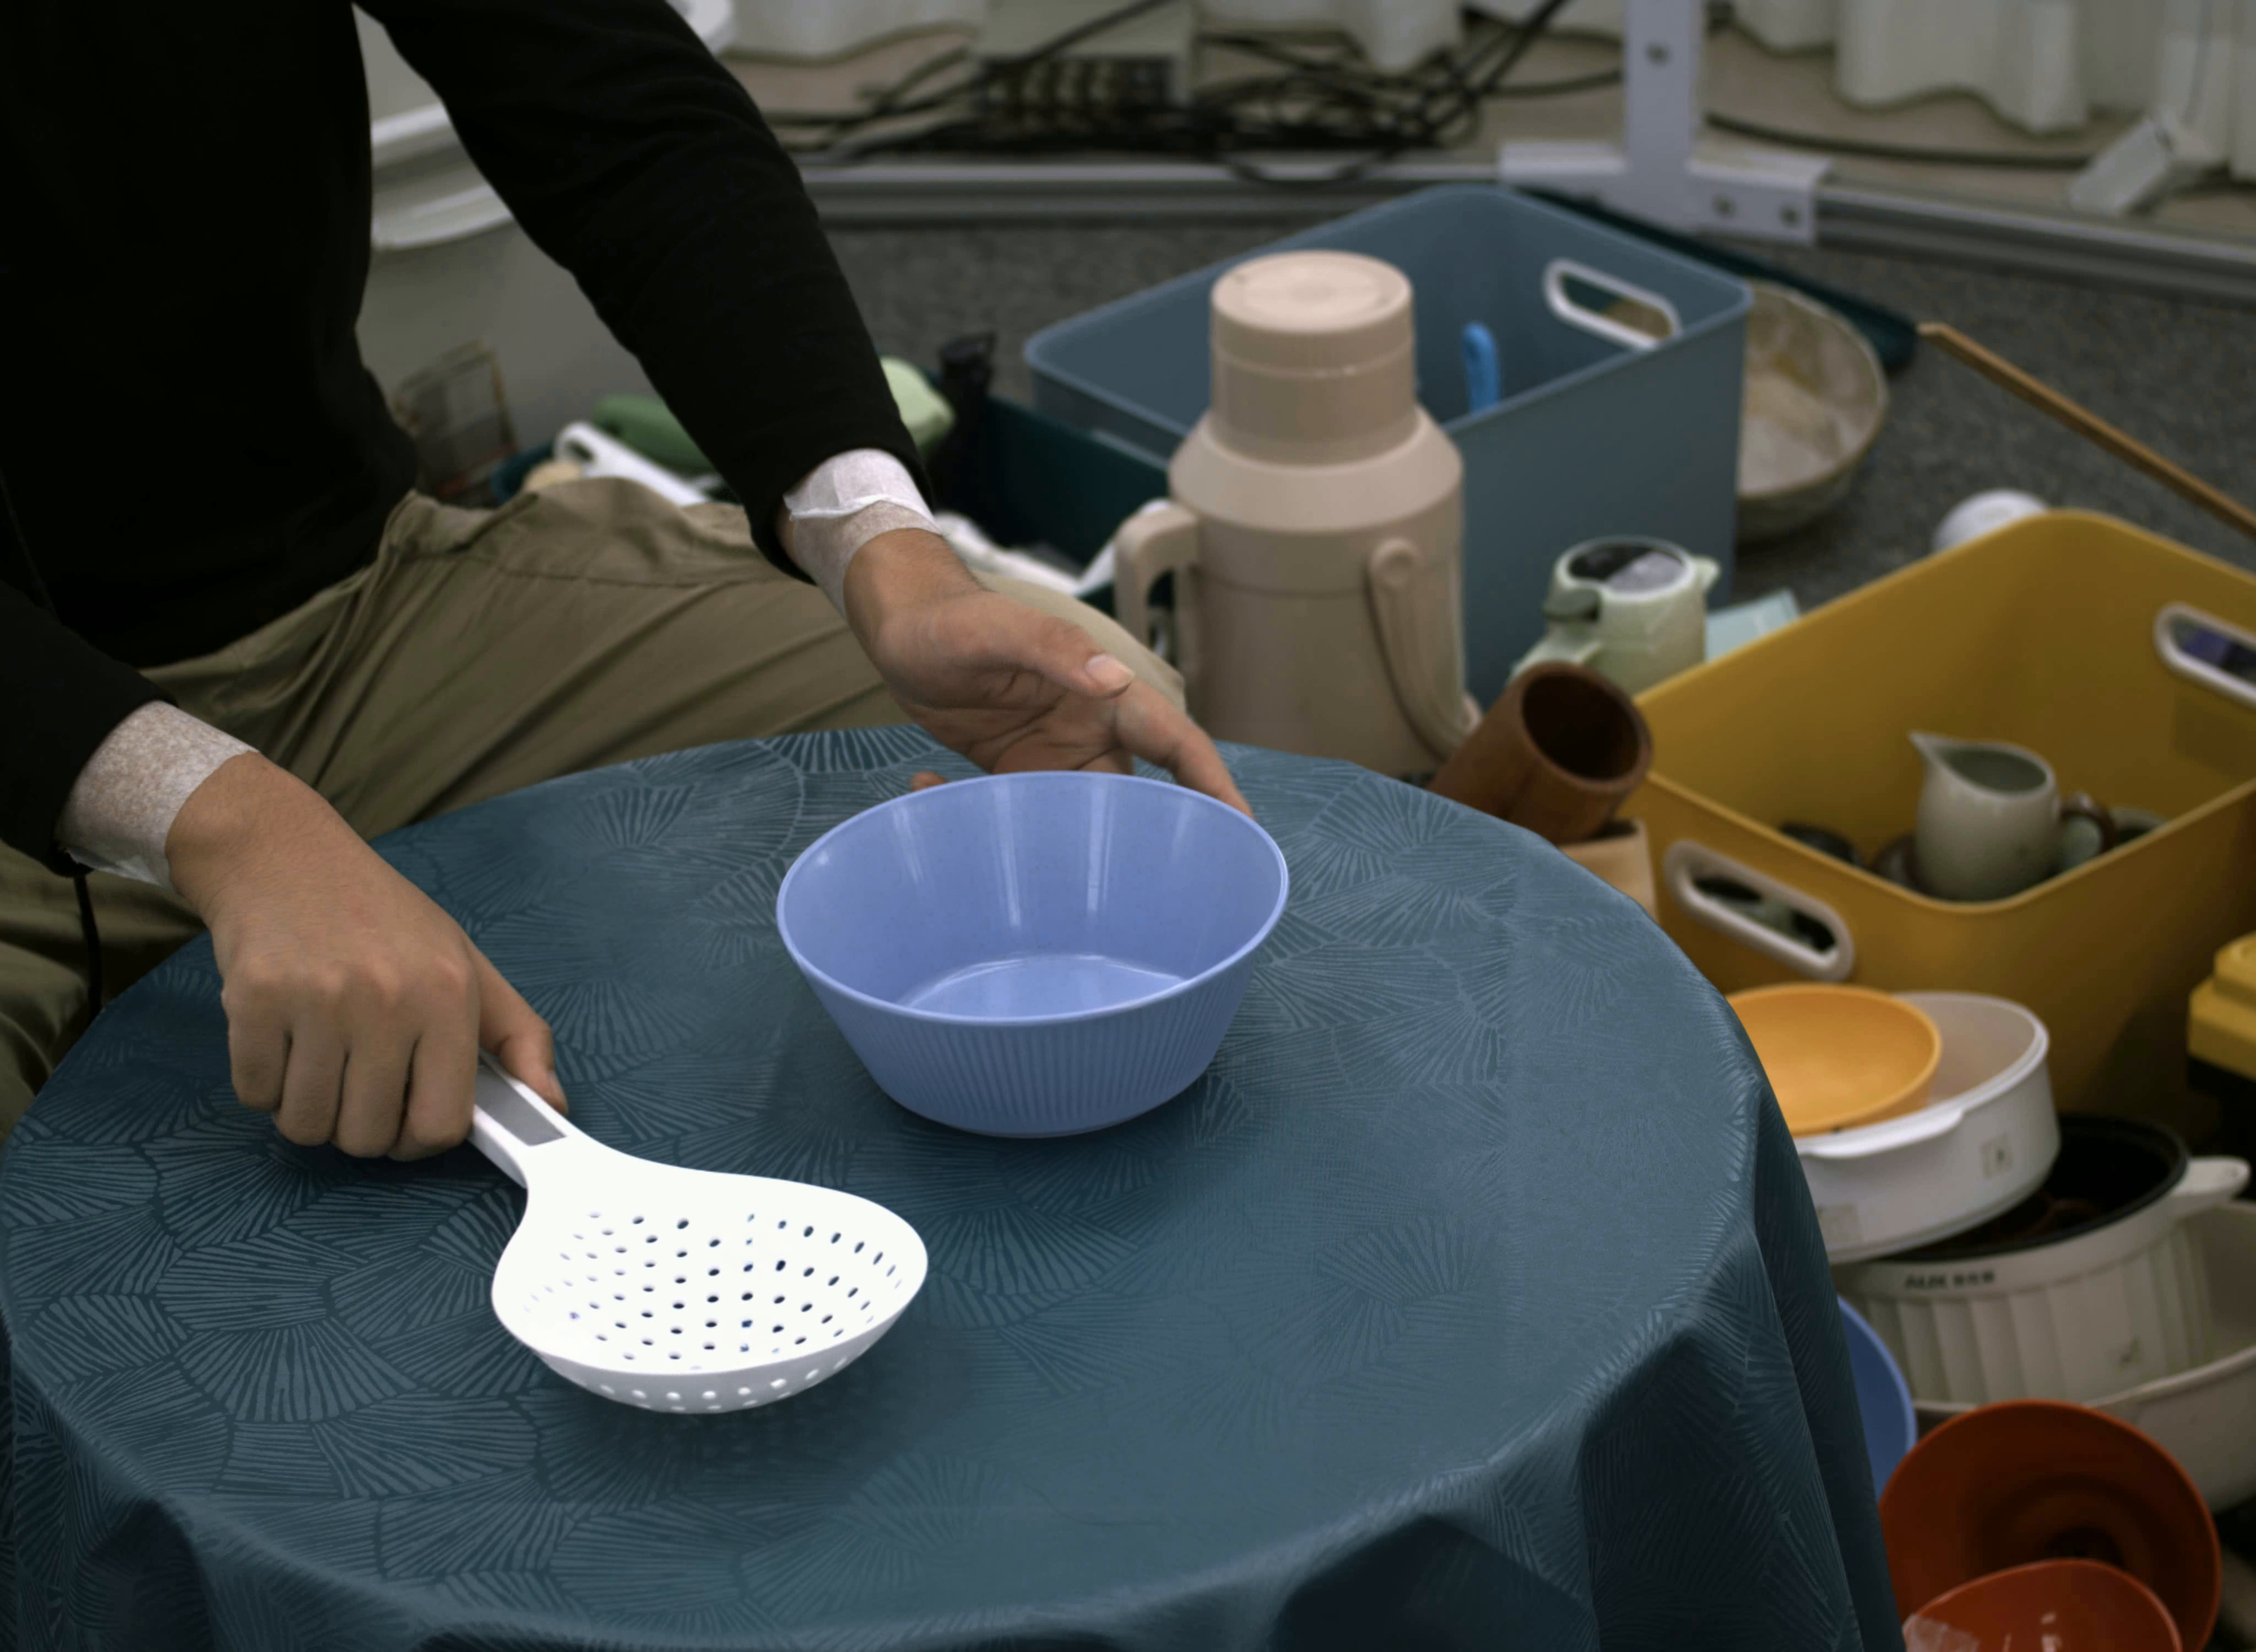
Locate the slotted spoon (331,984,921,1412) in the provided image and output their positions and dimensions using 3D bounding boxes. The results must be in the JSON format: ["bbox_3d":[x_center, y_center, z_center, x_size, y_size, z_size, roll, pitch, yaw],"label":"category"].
[{"bbox_3d":[-0.185,0.115,1.843,0.137,0.045,0.351,-16,29,-26],"label":"slotted spoon"}]

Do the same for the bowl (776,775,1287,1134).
[{"bbox_3d":[-0.031,0.049,1.927,0.175,0.069,0.178,-2,26,2],"label":"bowl"}]
